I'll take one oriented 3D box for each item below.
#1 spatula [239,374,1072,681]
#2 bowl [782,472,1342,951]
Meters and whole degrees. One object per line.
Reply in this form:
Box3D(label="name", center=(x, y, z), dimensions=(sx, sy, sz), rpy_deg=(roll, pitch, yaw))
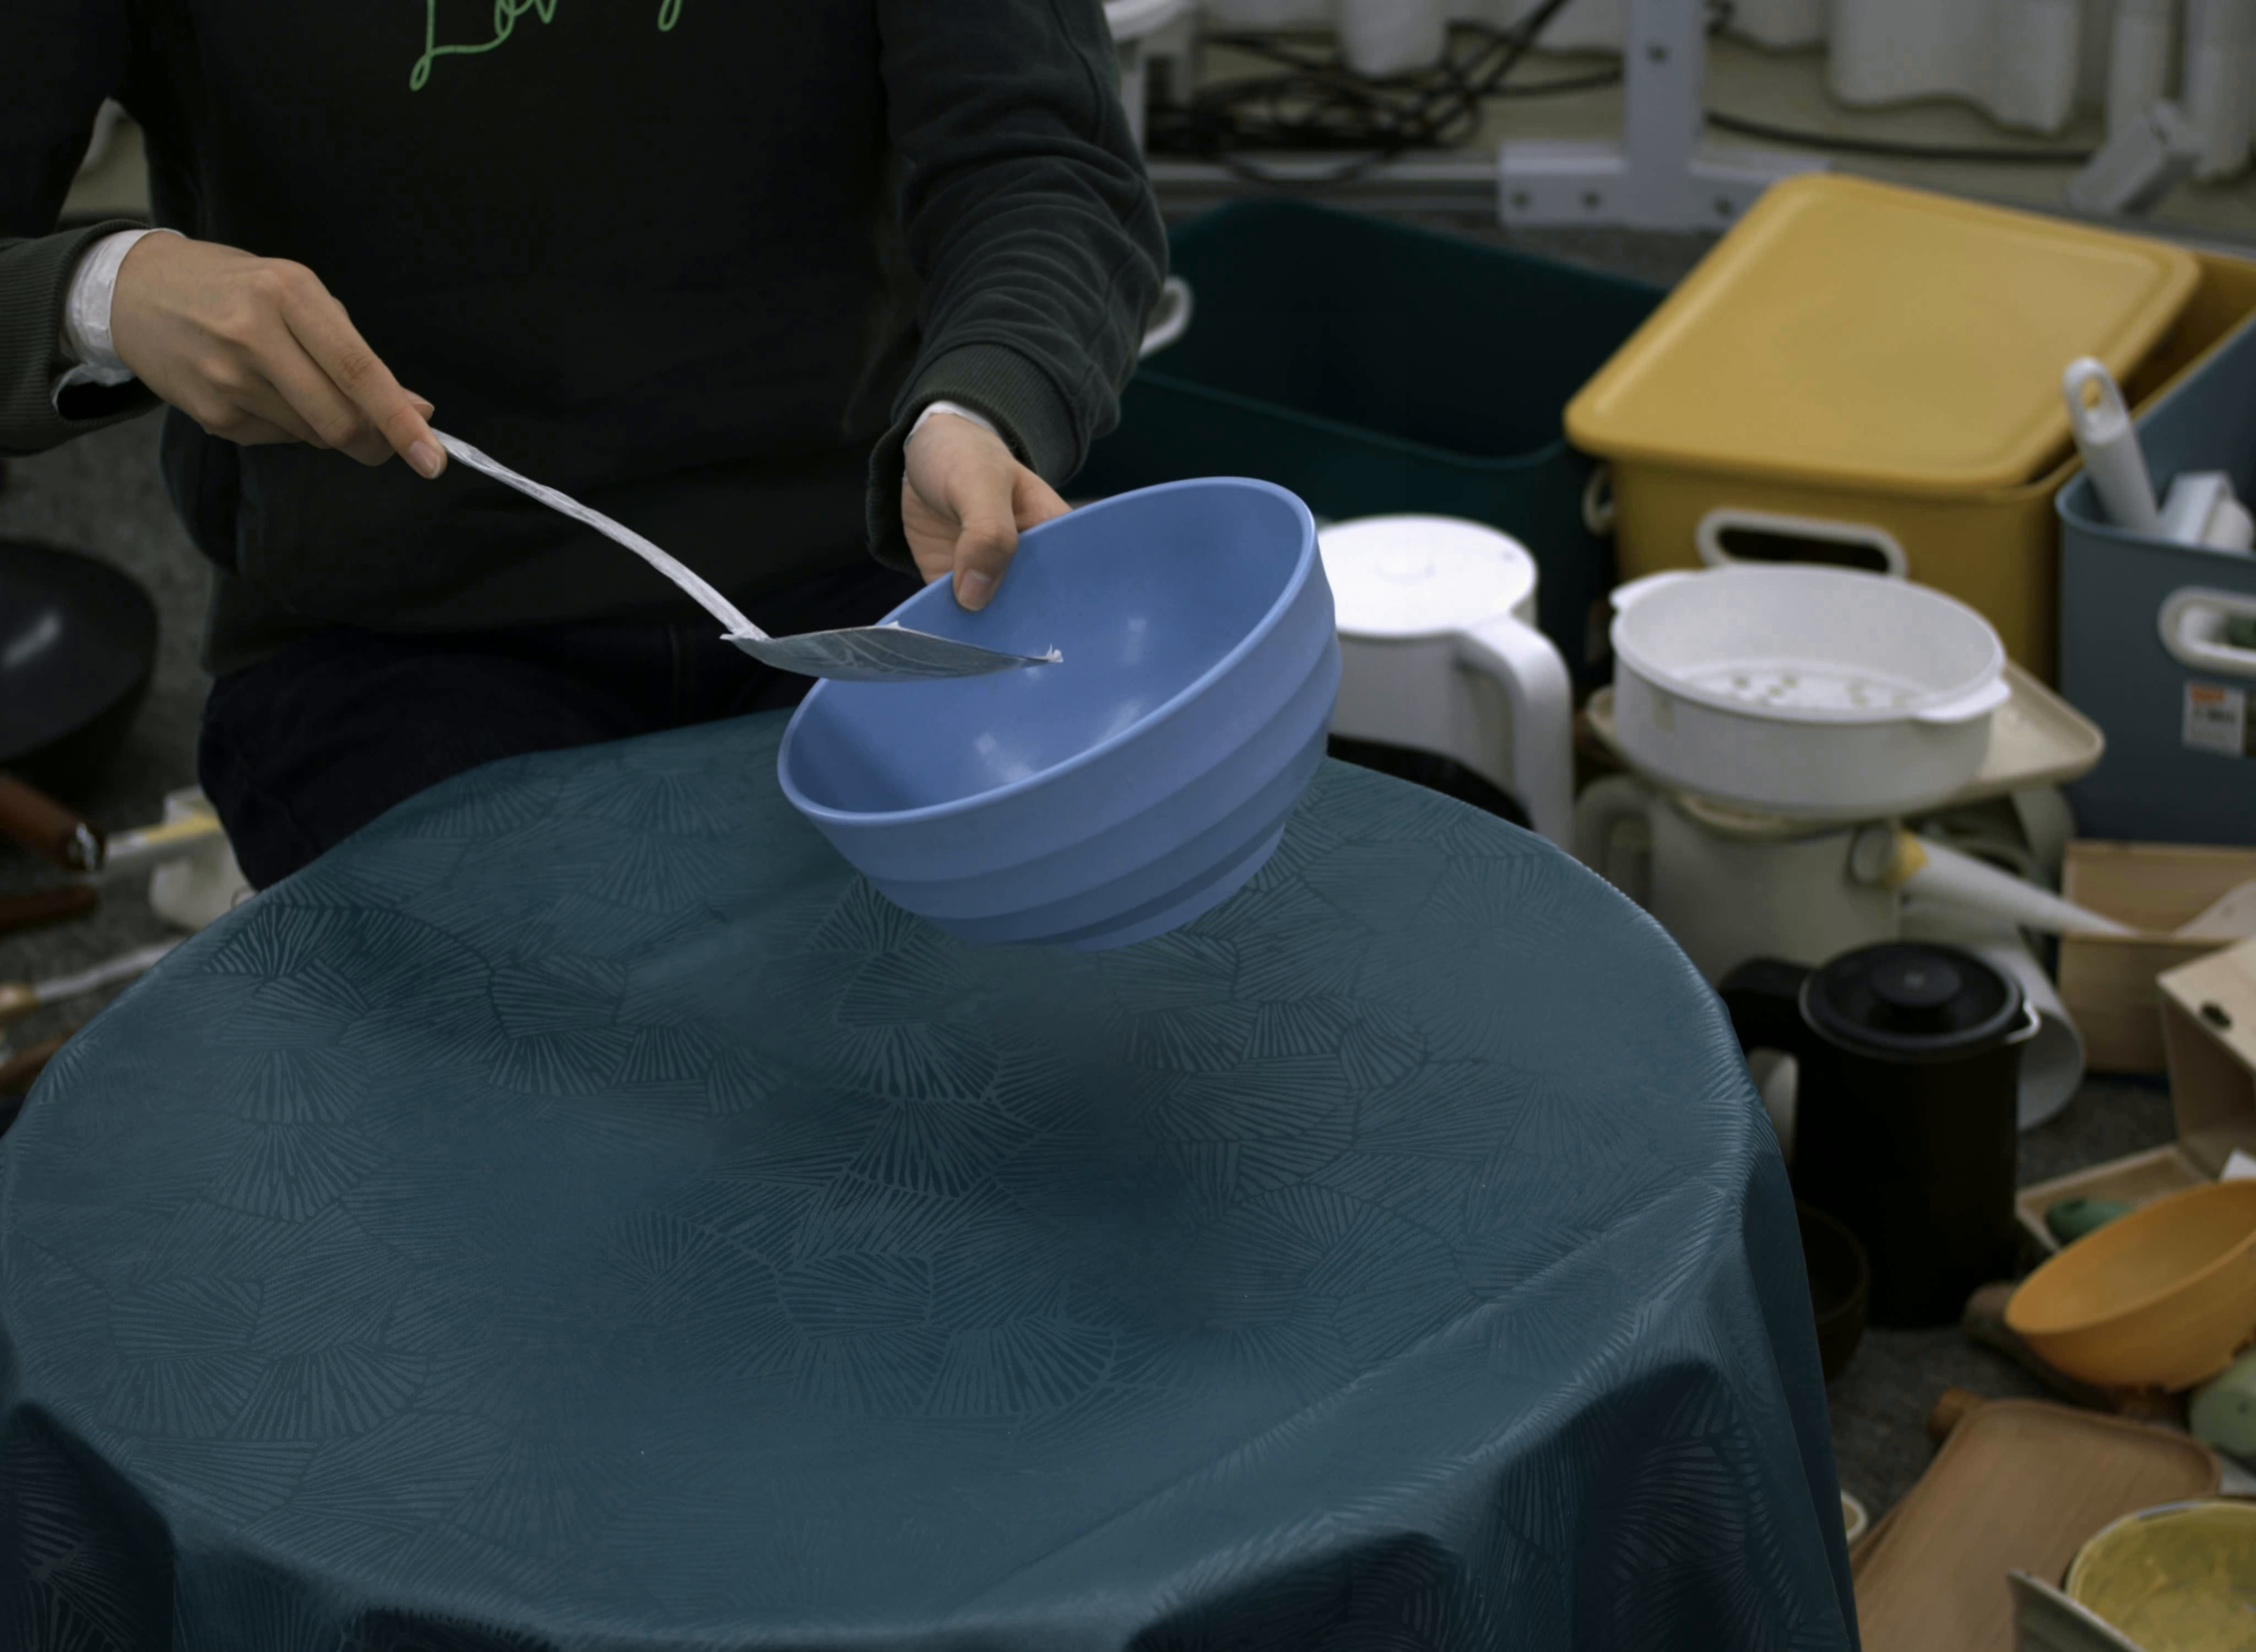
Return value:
Box3D(label="spatula", center=(-0.178, -0.108, 1.906), dimensions=(0.365, 0.044, 0.099), rpy_deg=(27, 11, 32))
Box3D(label="bowl", center=(-0.008, -0.023, 1.863), dimensions=(0.195, 0.095, 0.199), rpy_deg=(-24, 25, 12))
